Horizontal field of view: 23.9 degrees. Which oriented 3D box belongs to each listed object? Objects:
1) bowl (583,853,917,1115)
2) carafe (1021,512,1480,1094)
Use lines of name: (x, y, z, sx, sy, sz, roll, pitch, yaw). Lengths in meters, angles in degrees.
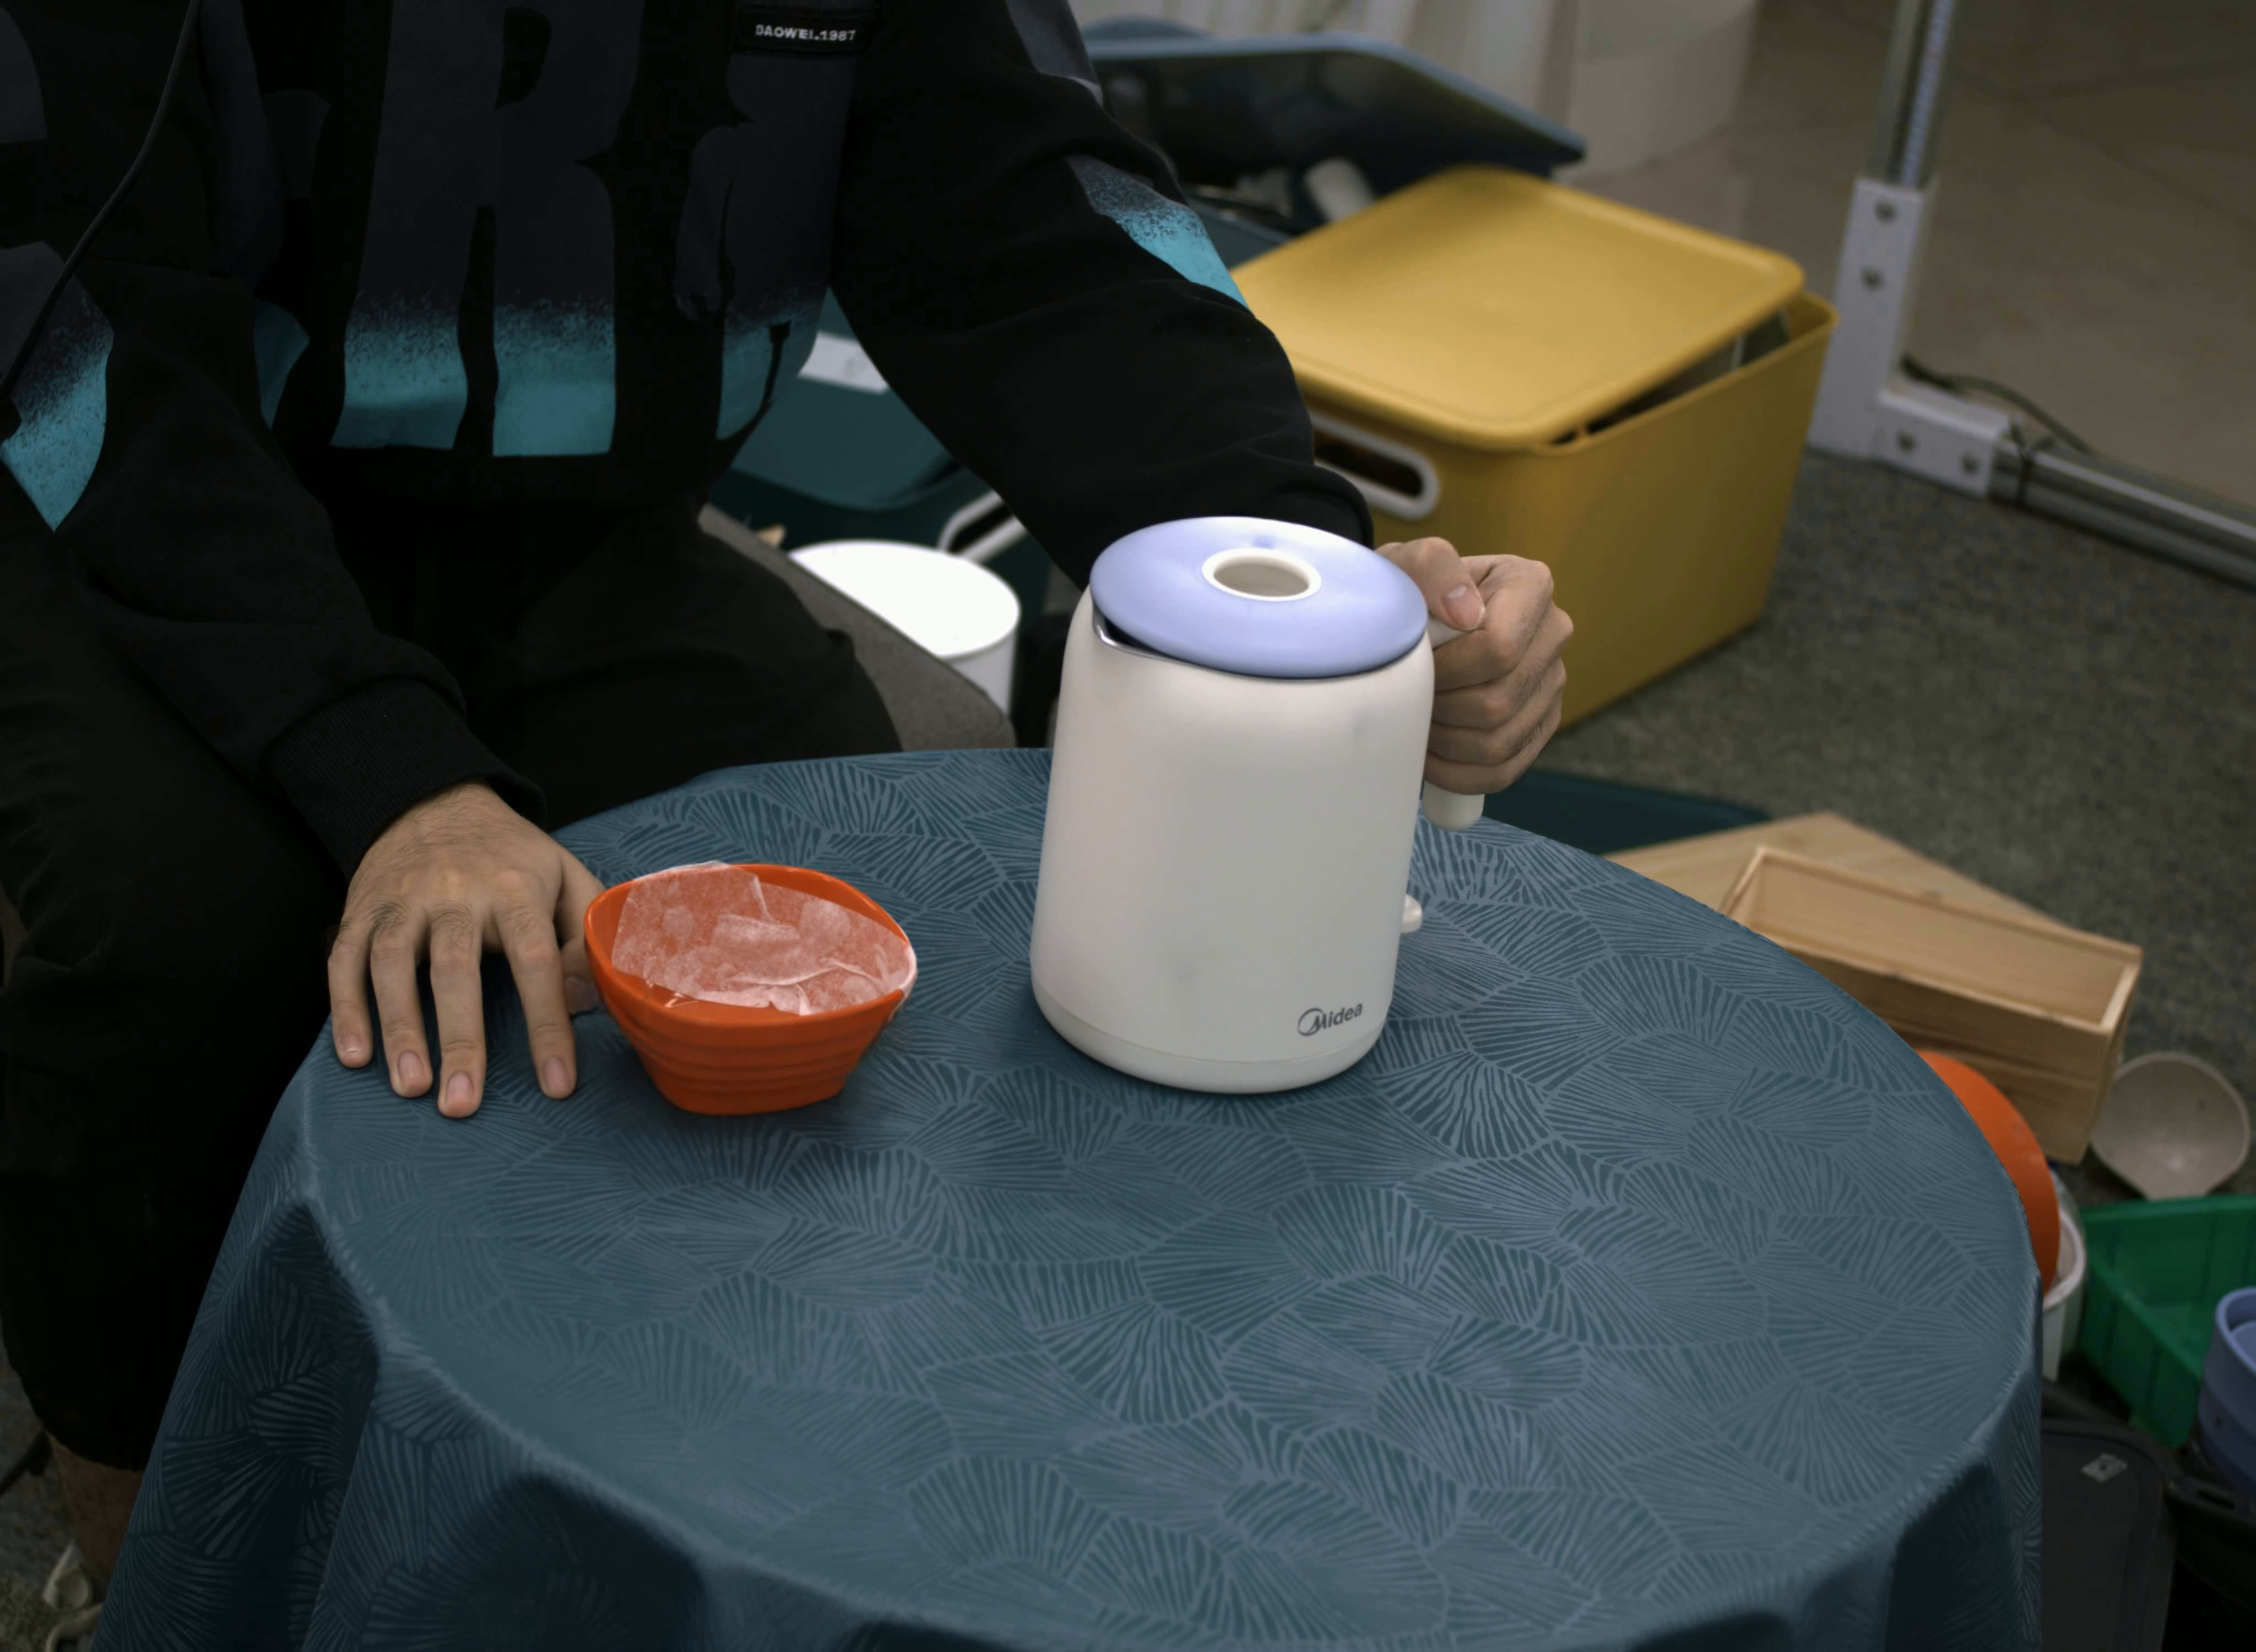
bowl: (-0.132, 0.059, 1.837, 0.118, 0.051, 0.120, 4, 30, -3)
carafe: (0.054, -0.013, 1.893, 0.190, 0.182, 0.133, -13, 34, -39)
